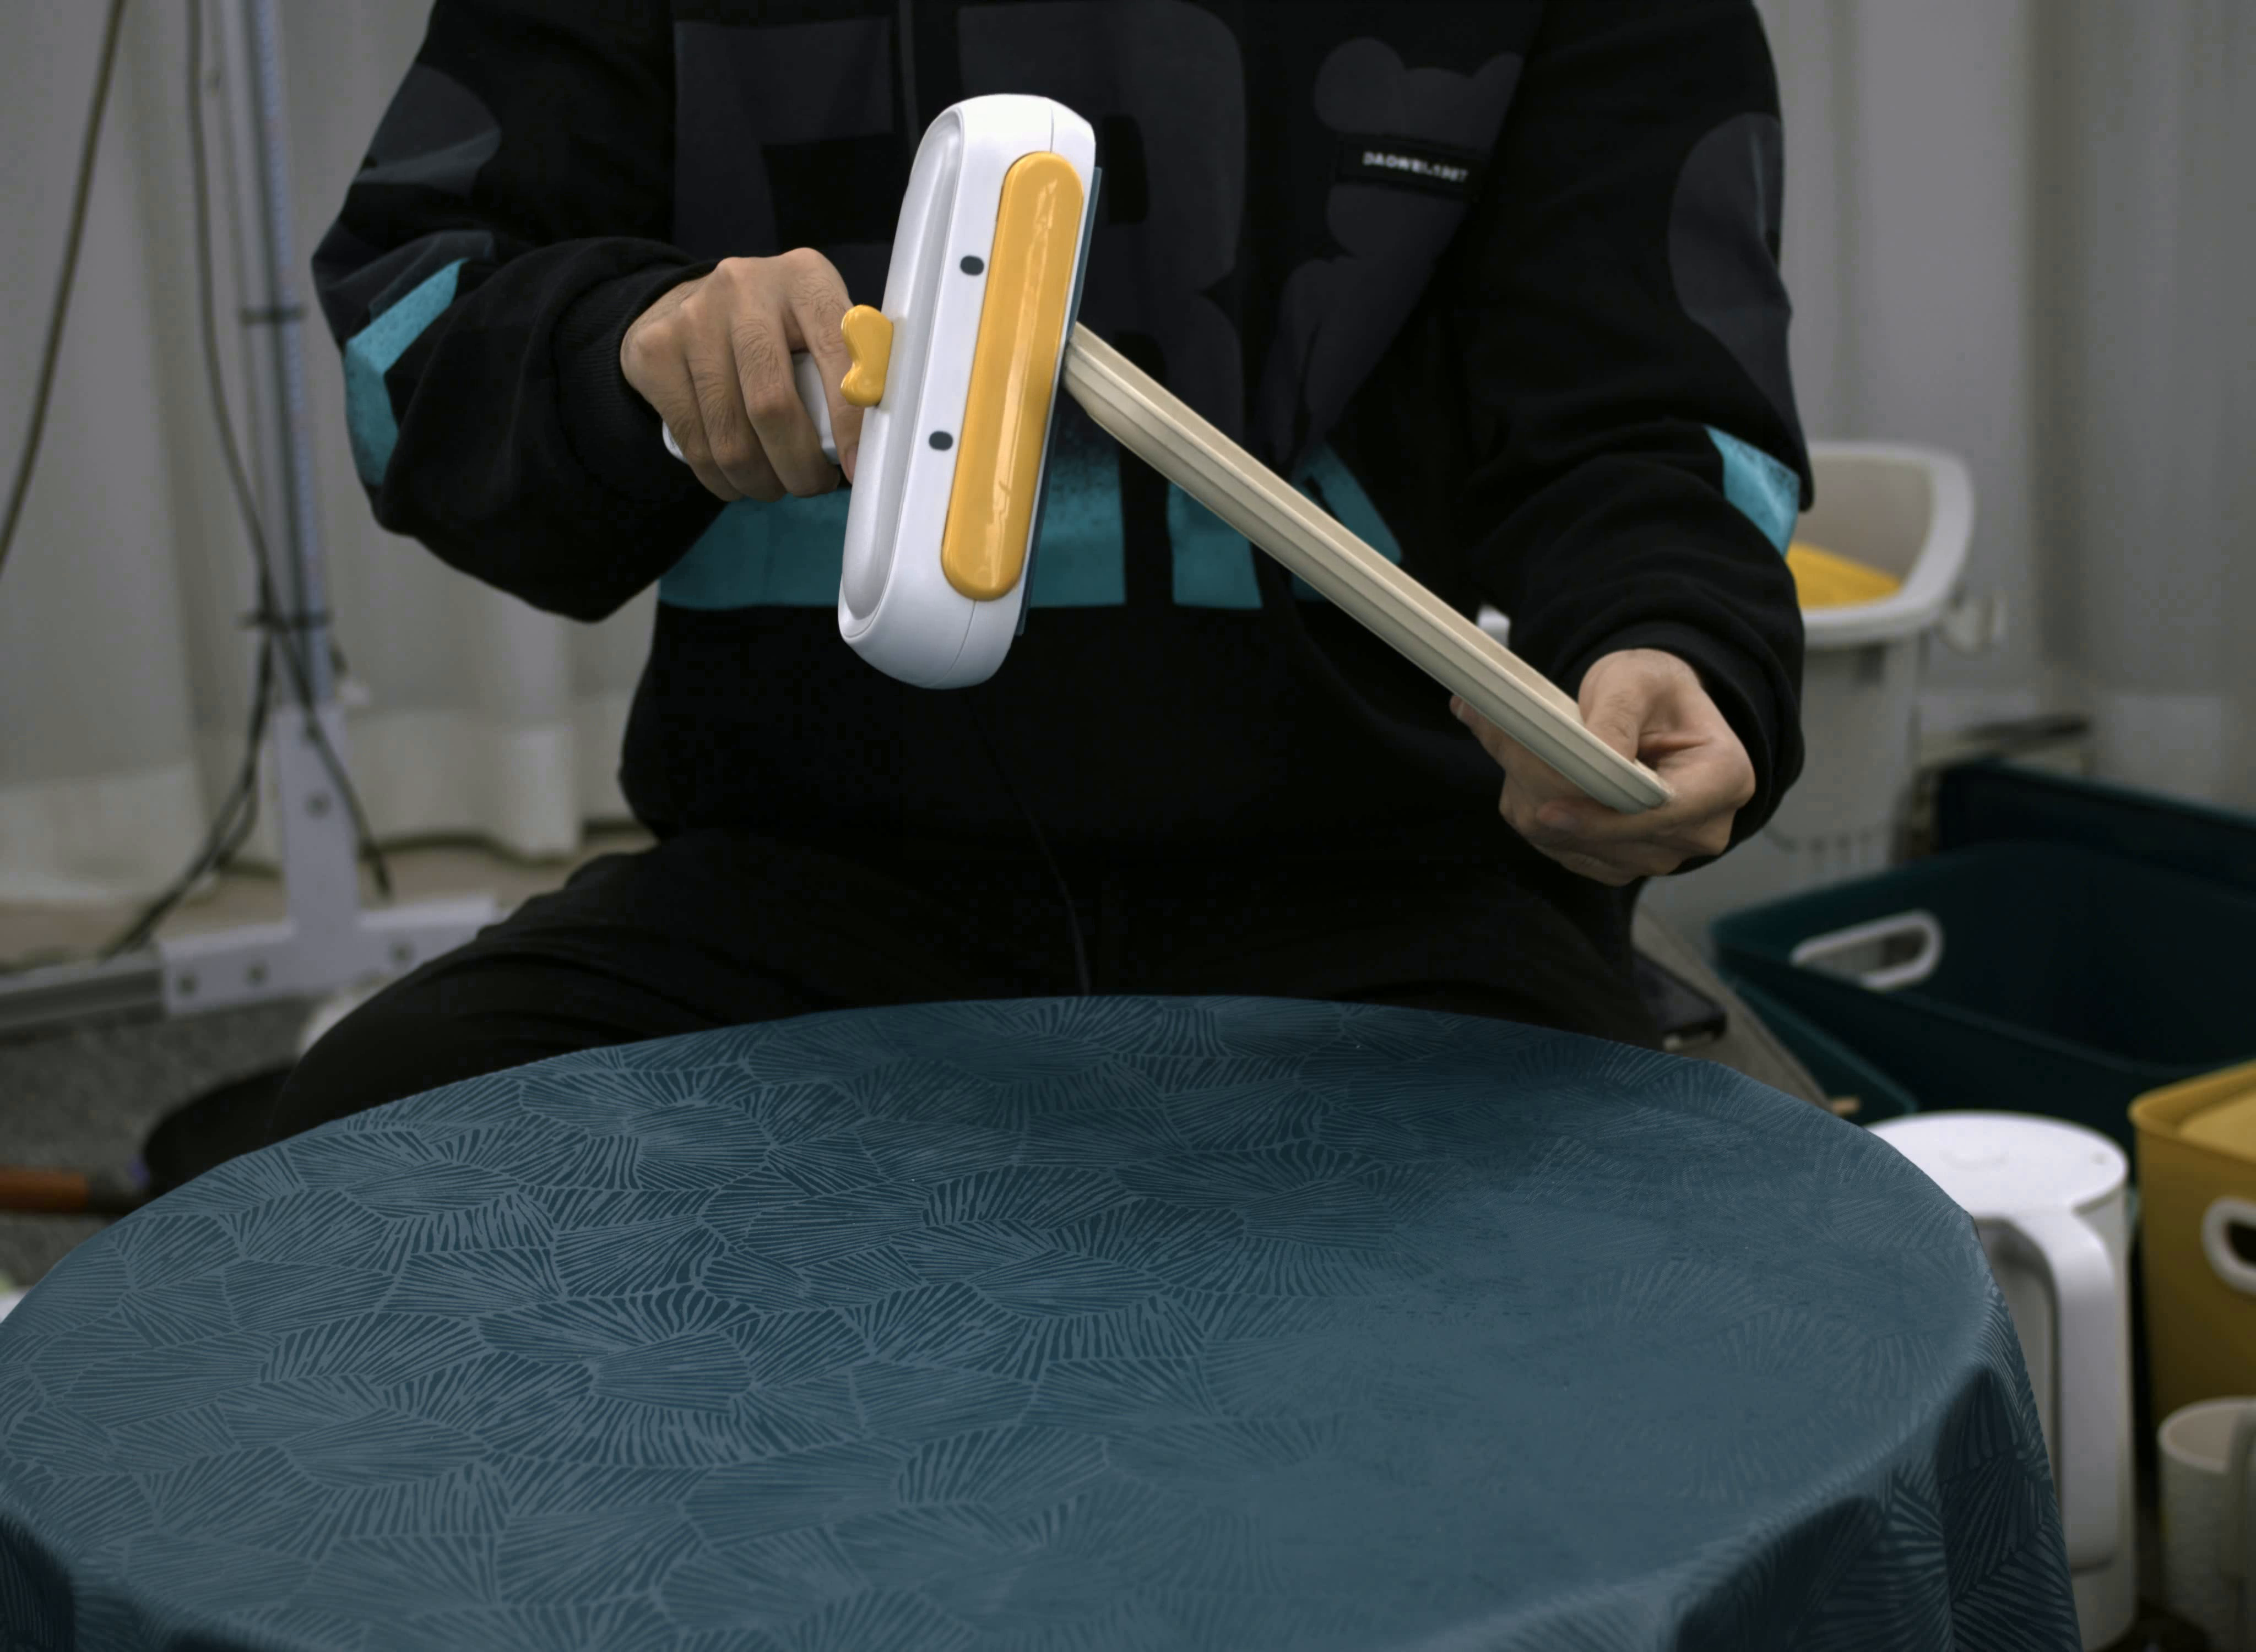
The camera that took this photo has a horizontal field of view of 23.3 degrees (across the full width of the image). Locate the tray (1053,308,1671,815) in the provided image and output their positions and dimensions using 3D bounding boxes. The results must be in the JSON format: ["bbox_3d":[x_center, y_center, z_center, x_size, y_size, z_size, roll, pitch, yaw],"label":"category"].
[{"bbox_3d":[0.070,-0.085,1.786,0.238,0.017,0.172,37,4,-11],"label":"tray"}]

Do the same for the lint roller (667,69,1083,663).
[{"bbox_3d":[-0.086,-0.141,1.796,0.073,0.194,0.192,10,-13,-28],"label":"lint roller"}]
